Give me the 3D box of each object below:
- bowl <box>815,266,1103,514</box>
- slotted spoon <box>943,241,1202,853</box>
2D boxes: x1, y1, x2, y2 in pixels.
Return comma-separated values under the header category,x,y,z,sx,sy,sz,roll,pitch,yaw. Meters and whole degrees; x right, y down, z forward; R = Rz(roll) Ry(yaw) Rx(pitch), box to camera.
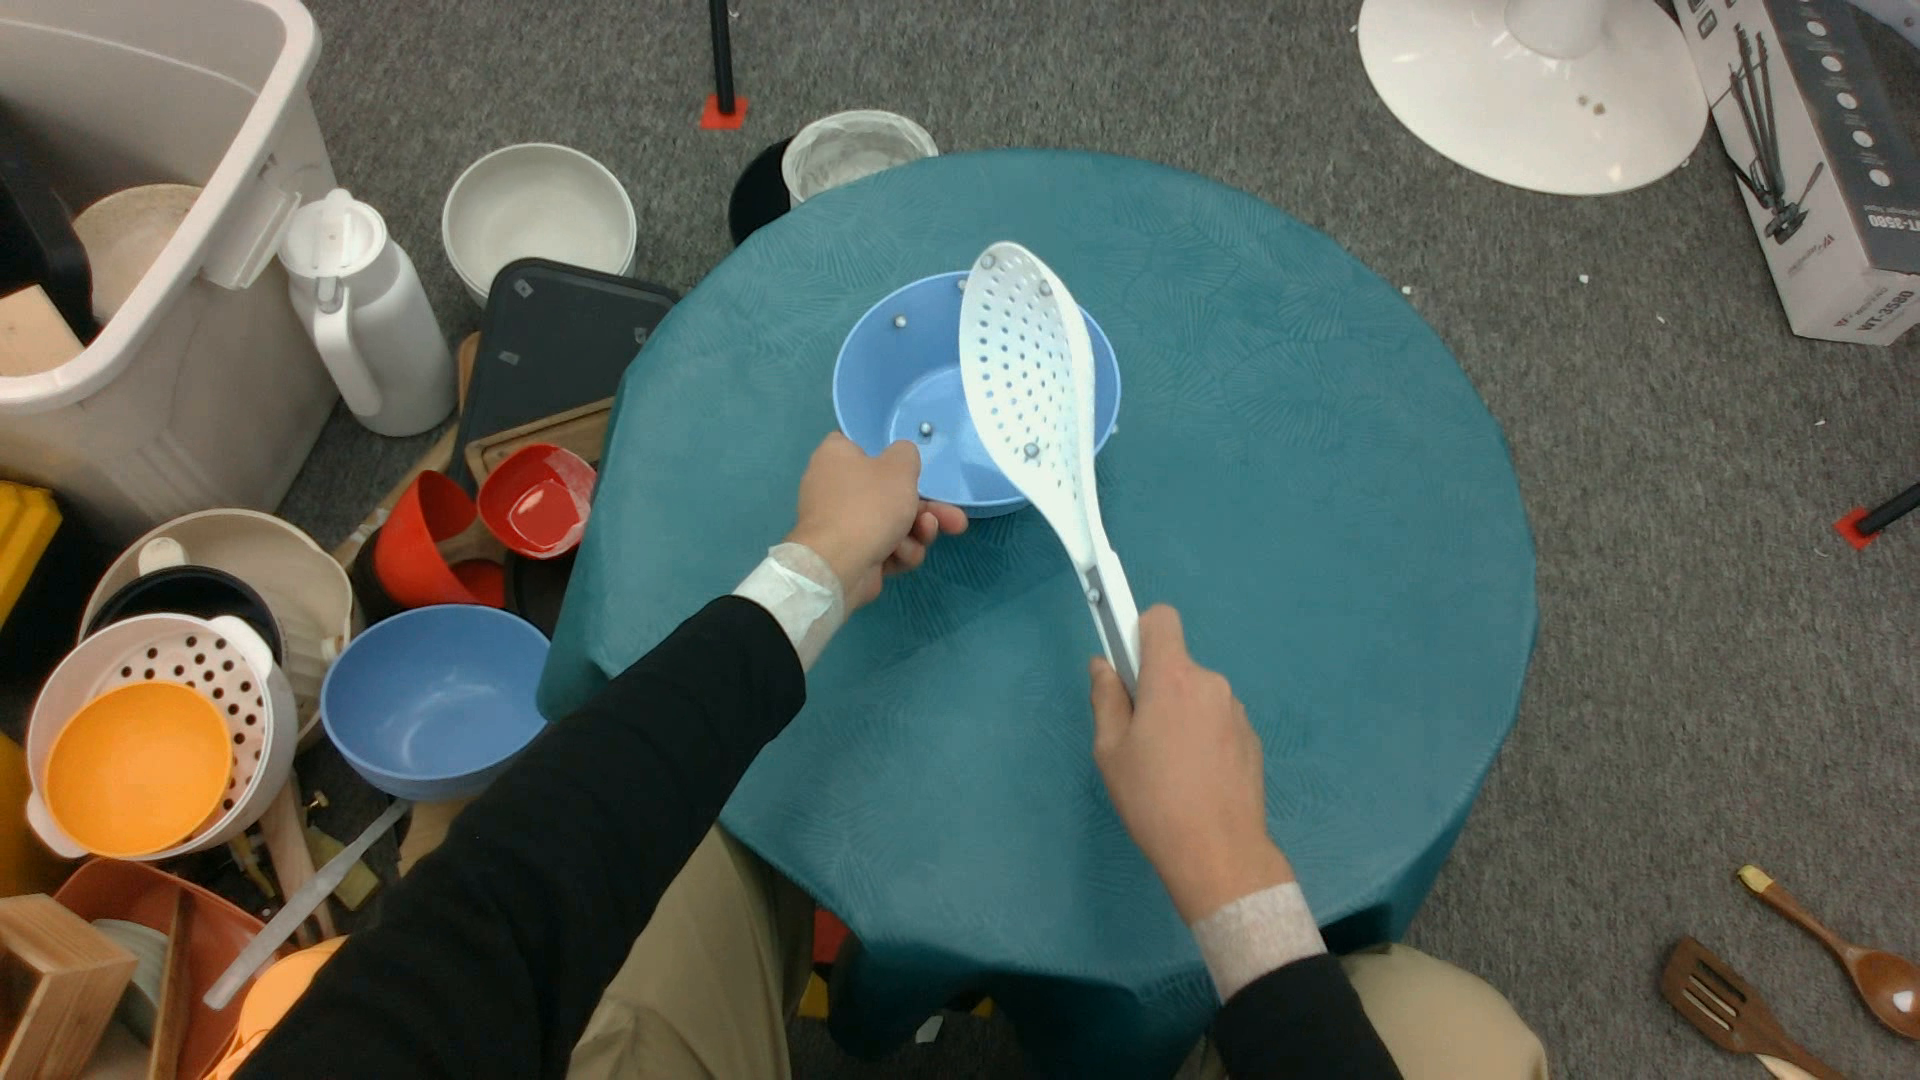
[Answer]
category,x,y,z,sx,sy,sz,roll,pitch,yaw
bowl,-0.001,-0.083,0.864,0.176,0.070,0.177,1,61,-2
slotted spoon,0.061,-0.002,0.750,0.046,0.135,0.350,-7,71,-23
